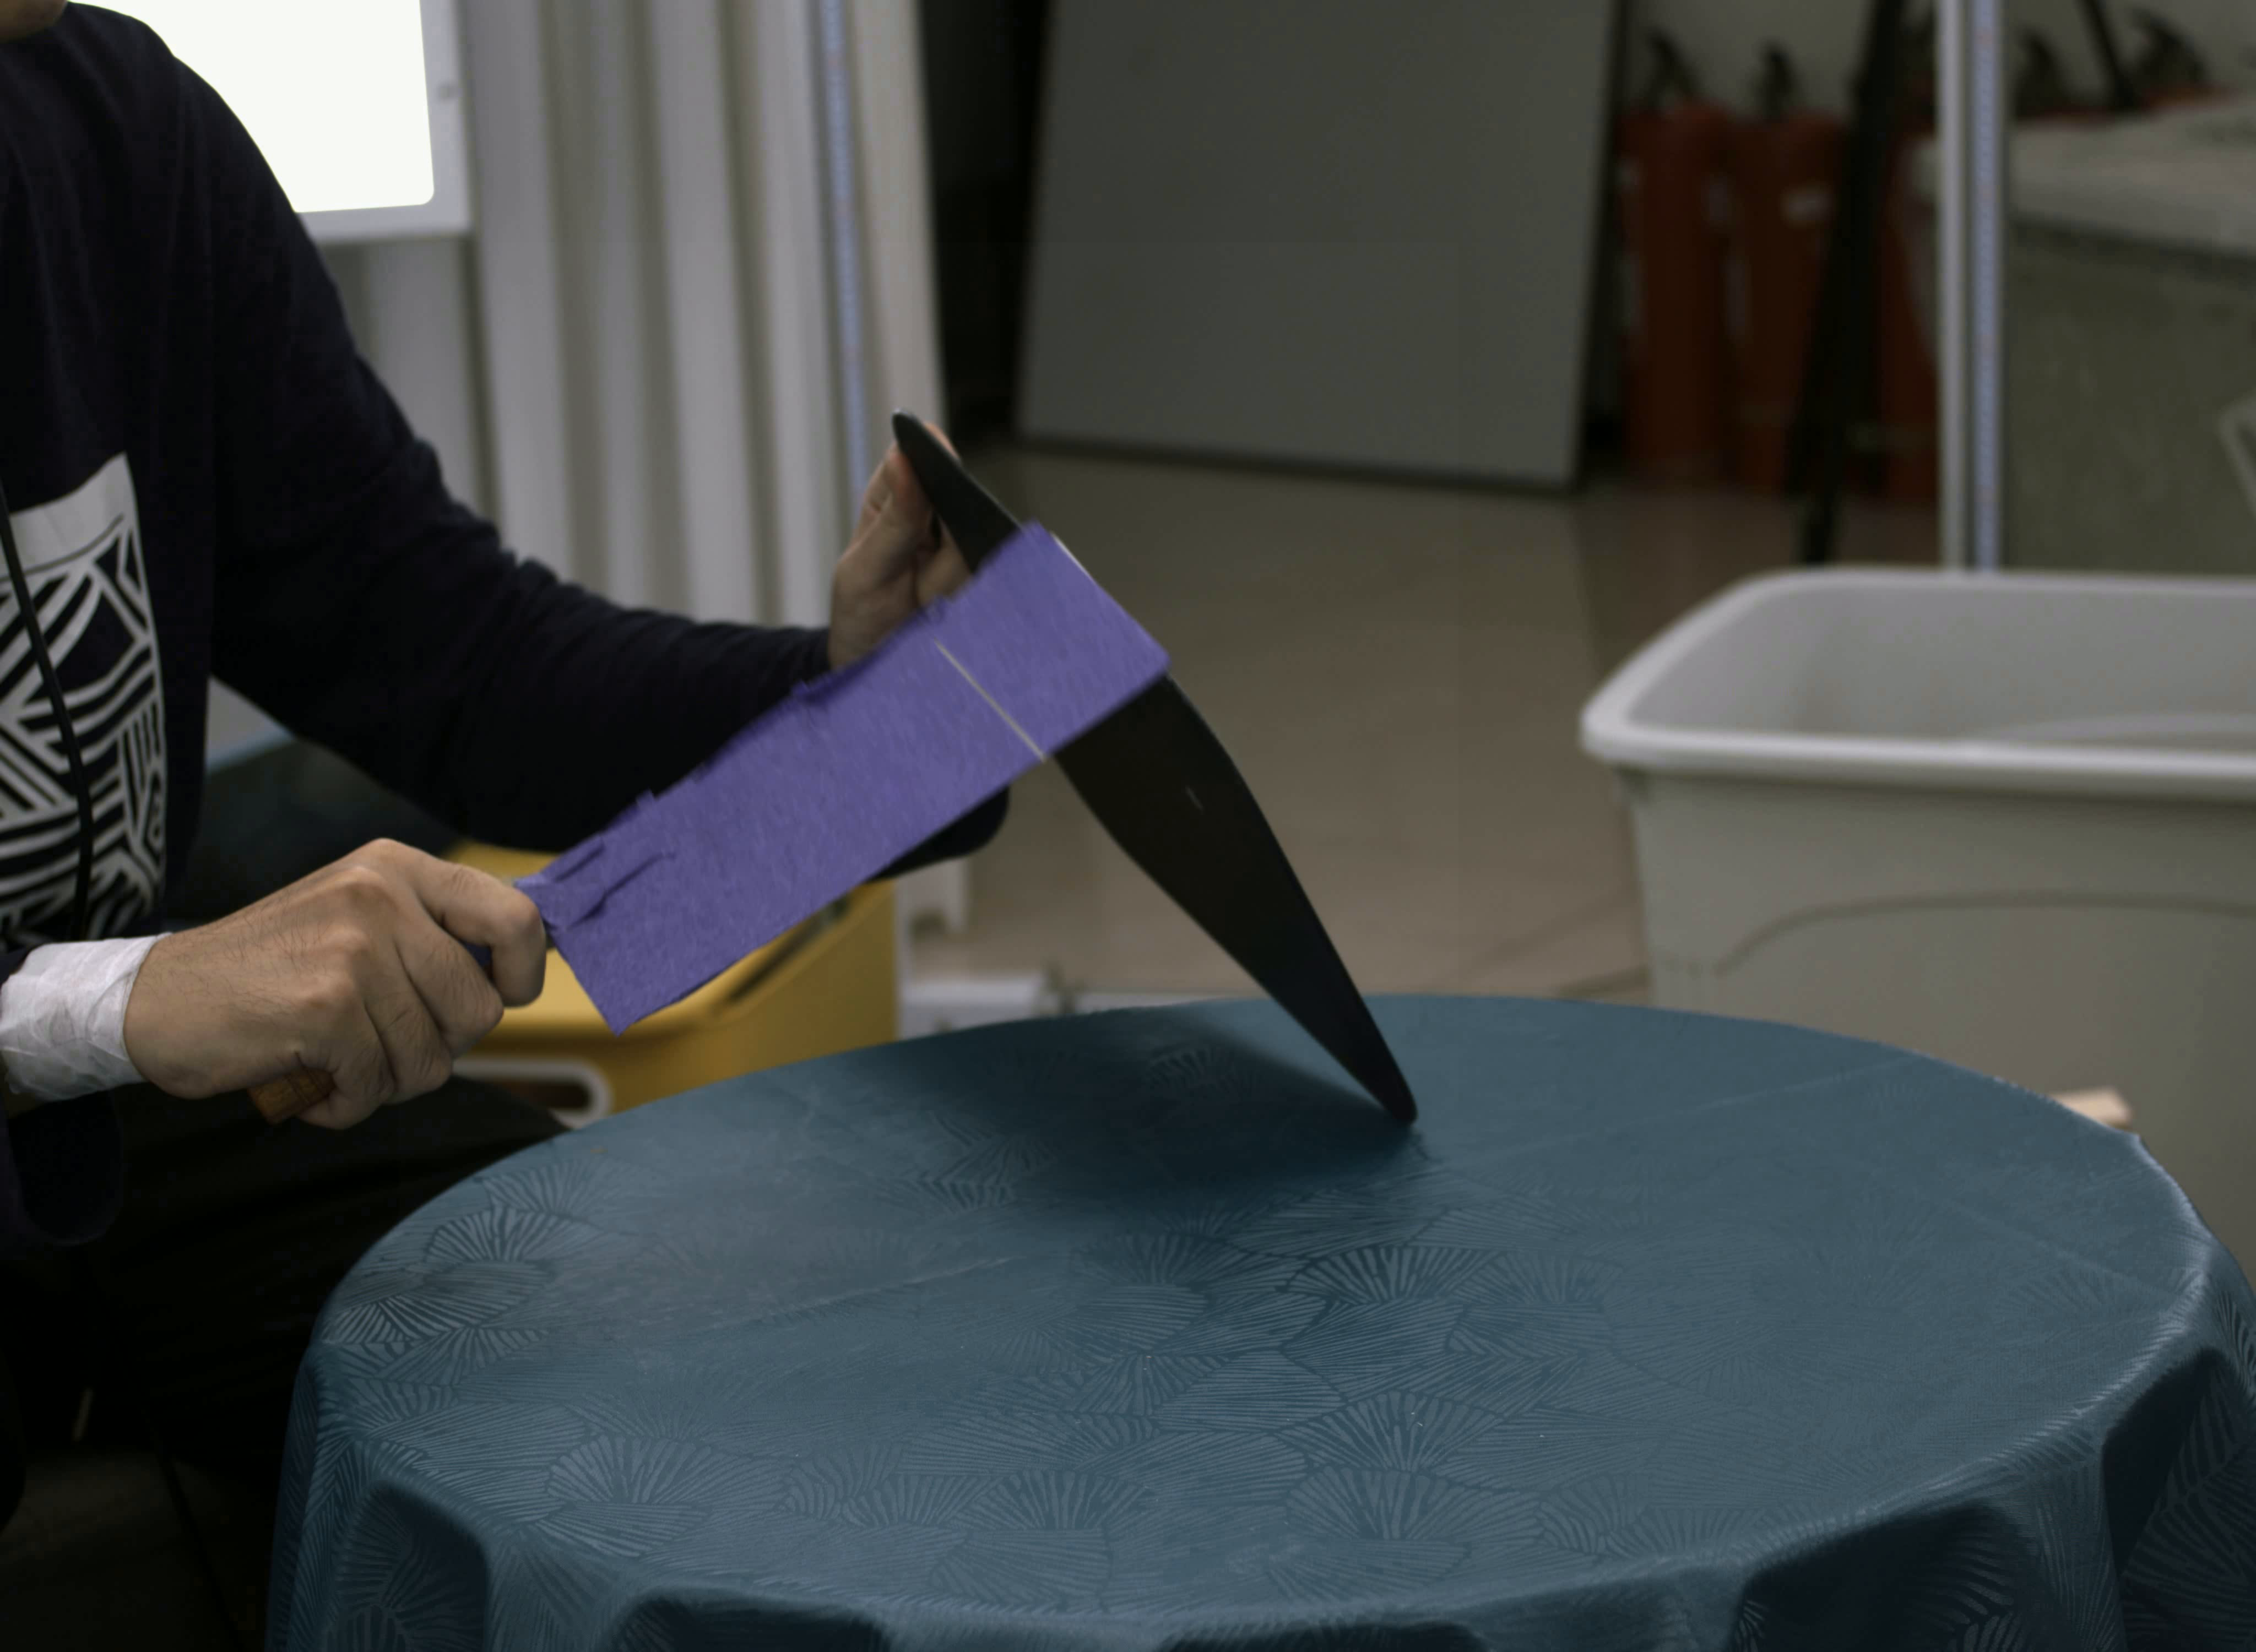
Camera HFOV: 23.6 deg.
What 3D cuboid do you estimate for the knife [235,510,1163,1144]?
[{"bbox_3d":[-0.132,0.011,1.666,0.313,0.032,0.105,-36,37,-3],"label":"knife"}]

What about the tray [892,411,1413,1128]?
[{"bbox_3d":[0.003,-0.028,1.884,0.010,0.210,0.329,-32,32,-7],"label":"tray"}]
